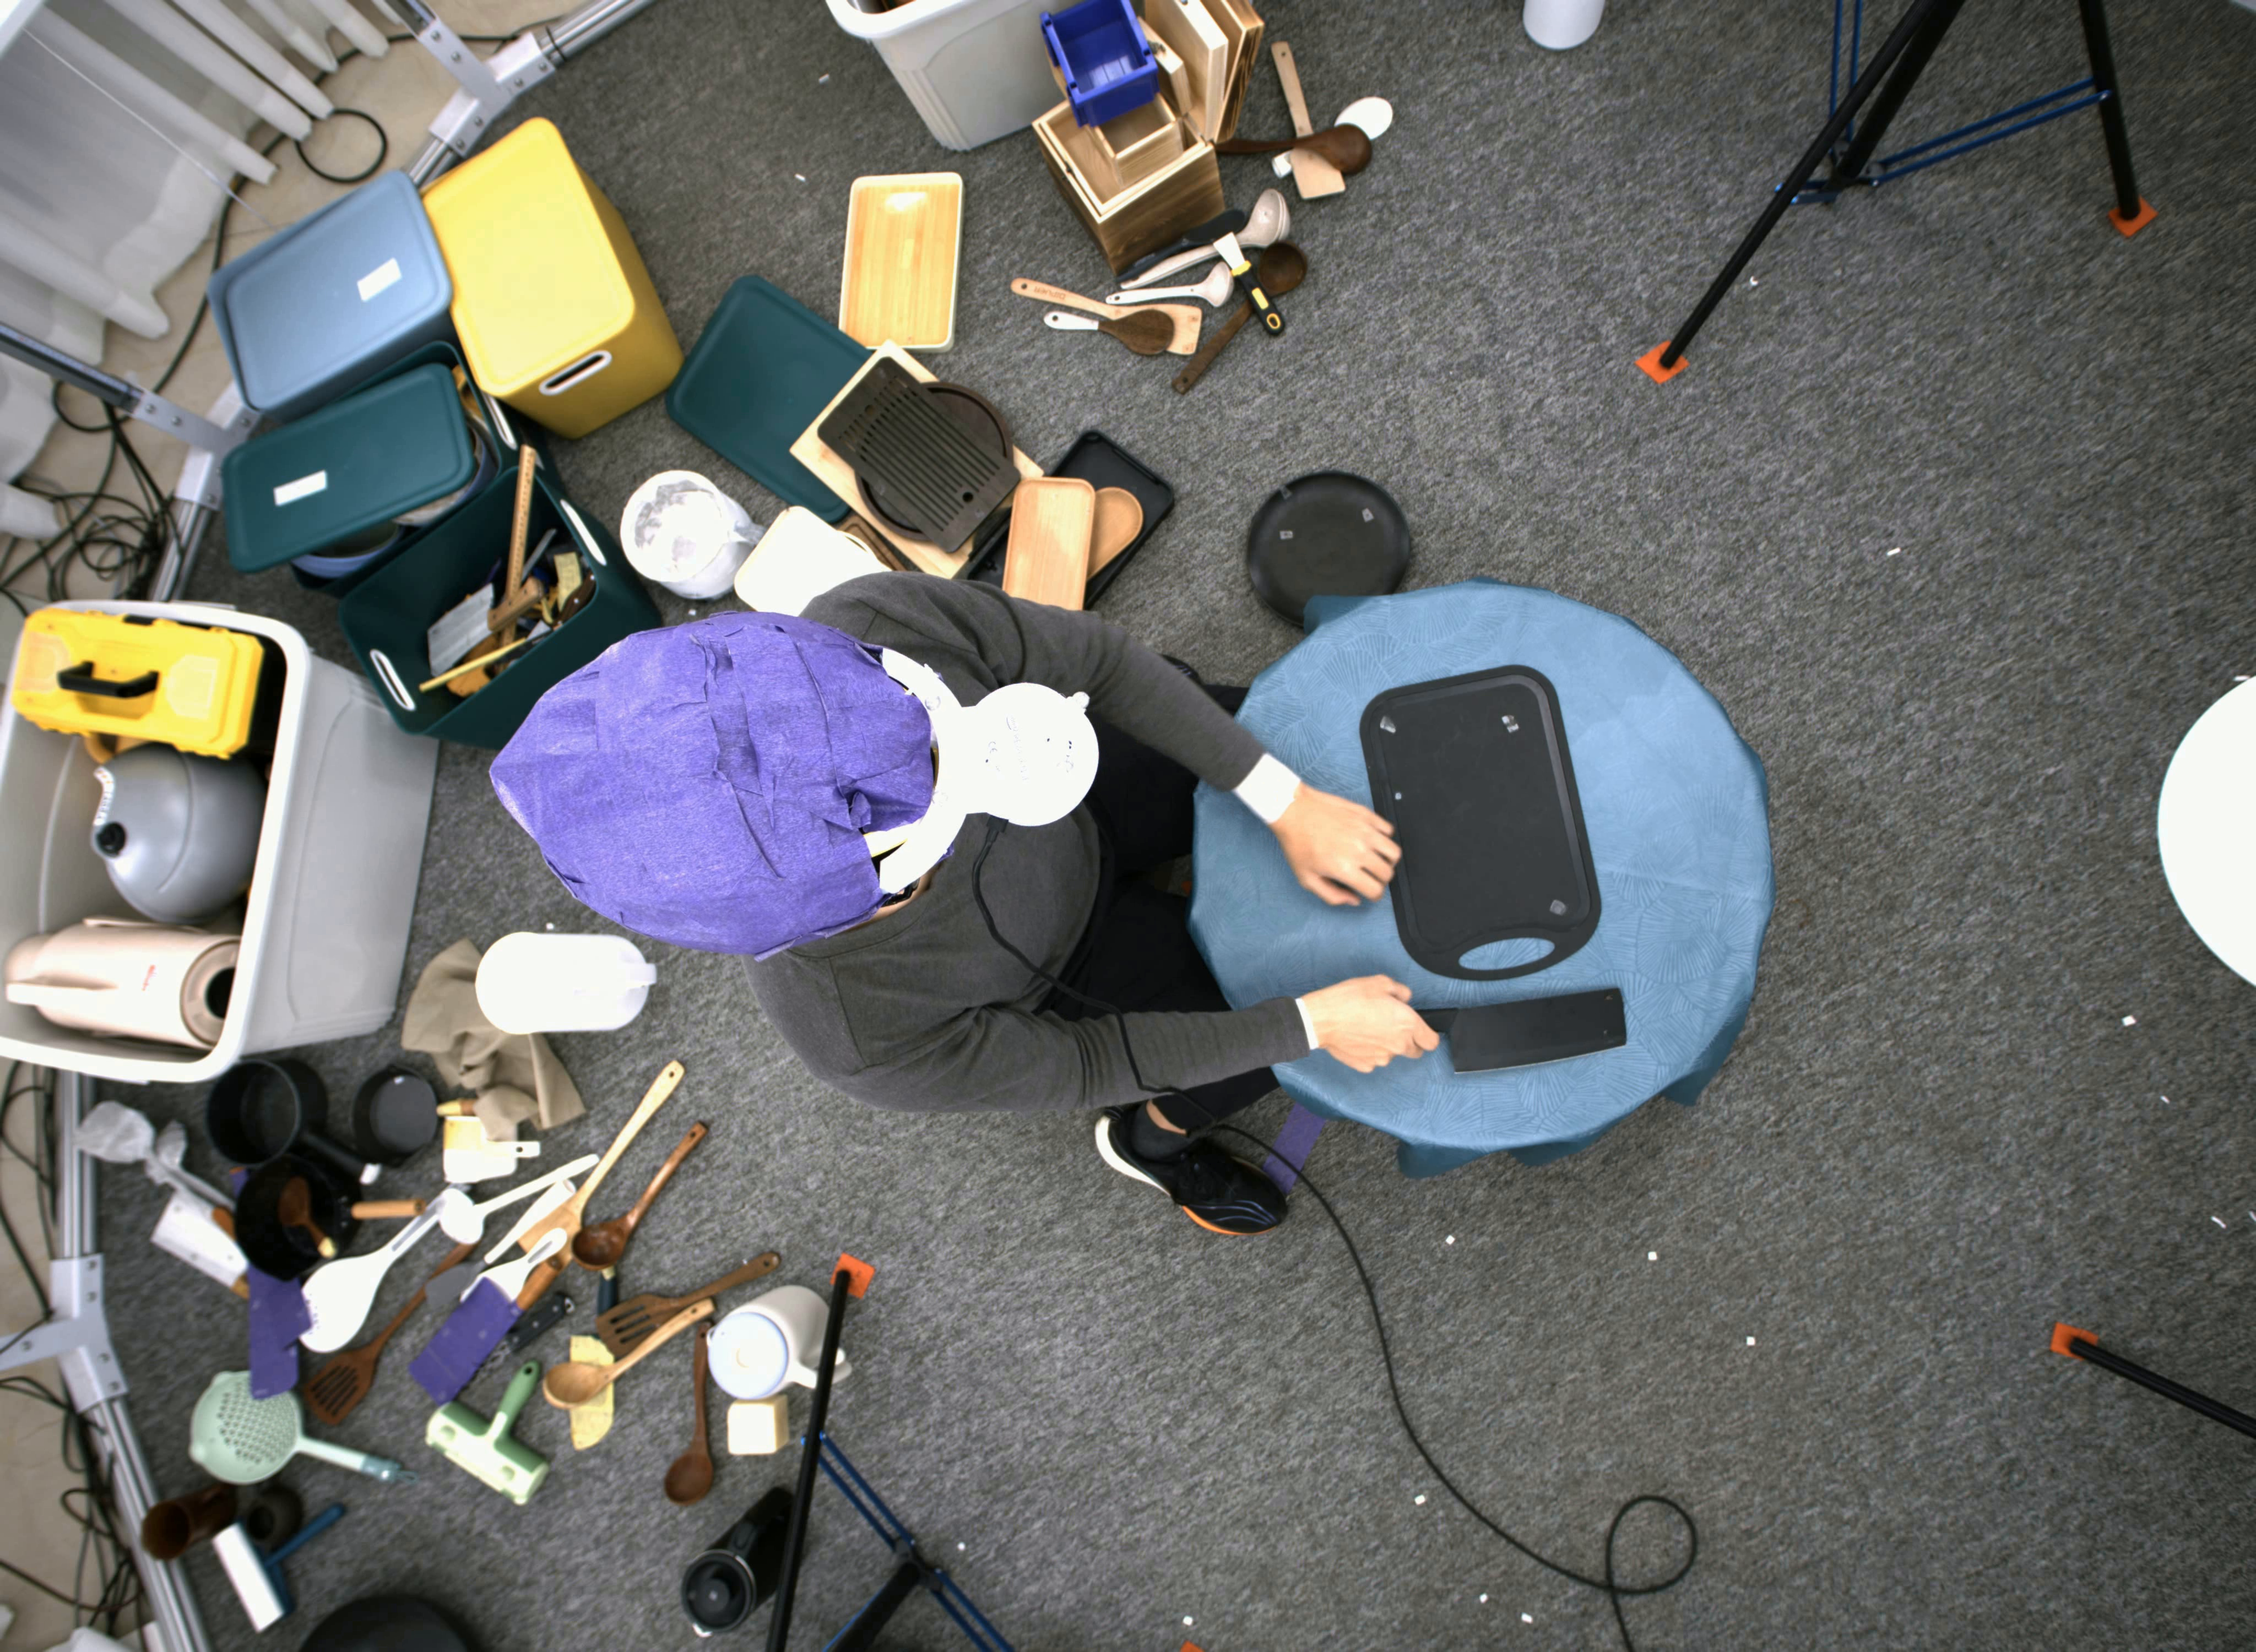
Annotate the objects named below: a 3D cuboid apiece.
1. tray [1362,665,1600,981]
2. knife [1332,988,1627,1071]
[{"bbox_3d":[0.371,-0.003,1.442,0.212,0.010,0.323,-10,85,11],"label":"tray"},{"bbox_3d":[0.359,0.209,1.410,0.303,0.021,0.081,-3,90,2],"label":"knife"}]
